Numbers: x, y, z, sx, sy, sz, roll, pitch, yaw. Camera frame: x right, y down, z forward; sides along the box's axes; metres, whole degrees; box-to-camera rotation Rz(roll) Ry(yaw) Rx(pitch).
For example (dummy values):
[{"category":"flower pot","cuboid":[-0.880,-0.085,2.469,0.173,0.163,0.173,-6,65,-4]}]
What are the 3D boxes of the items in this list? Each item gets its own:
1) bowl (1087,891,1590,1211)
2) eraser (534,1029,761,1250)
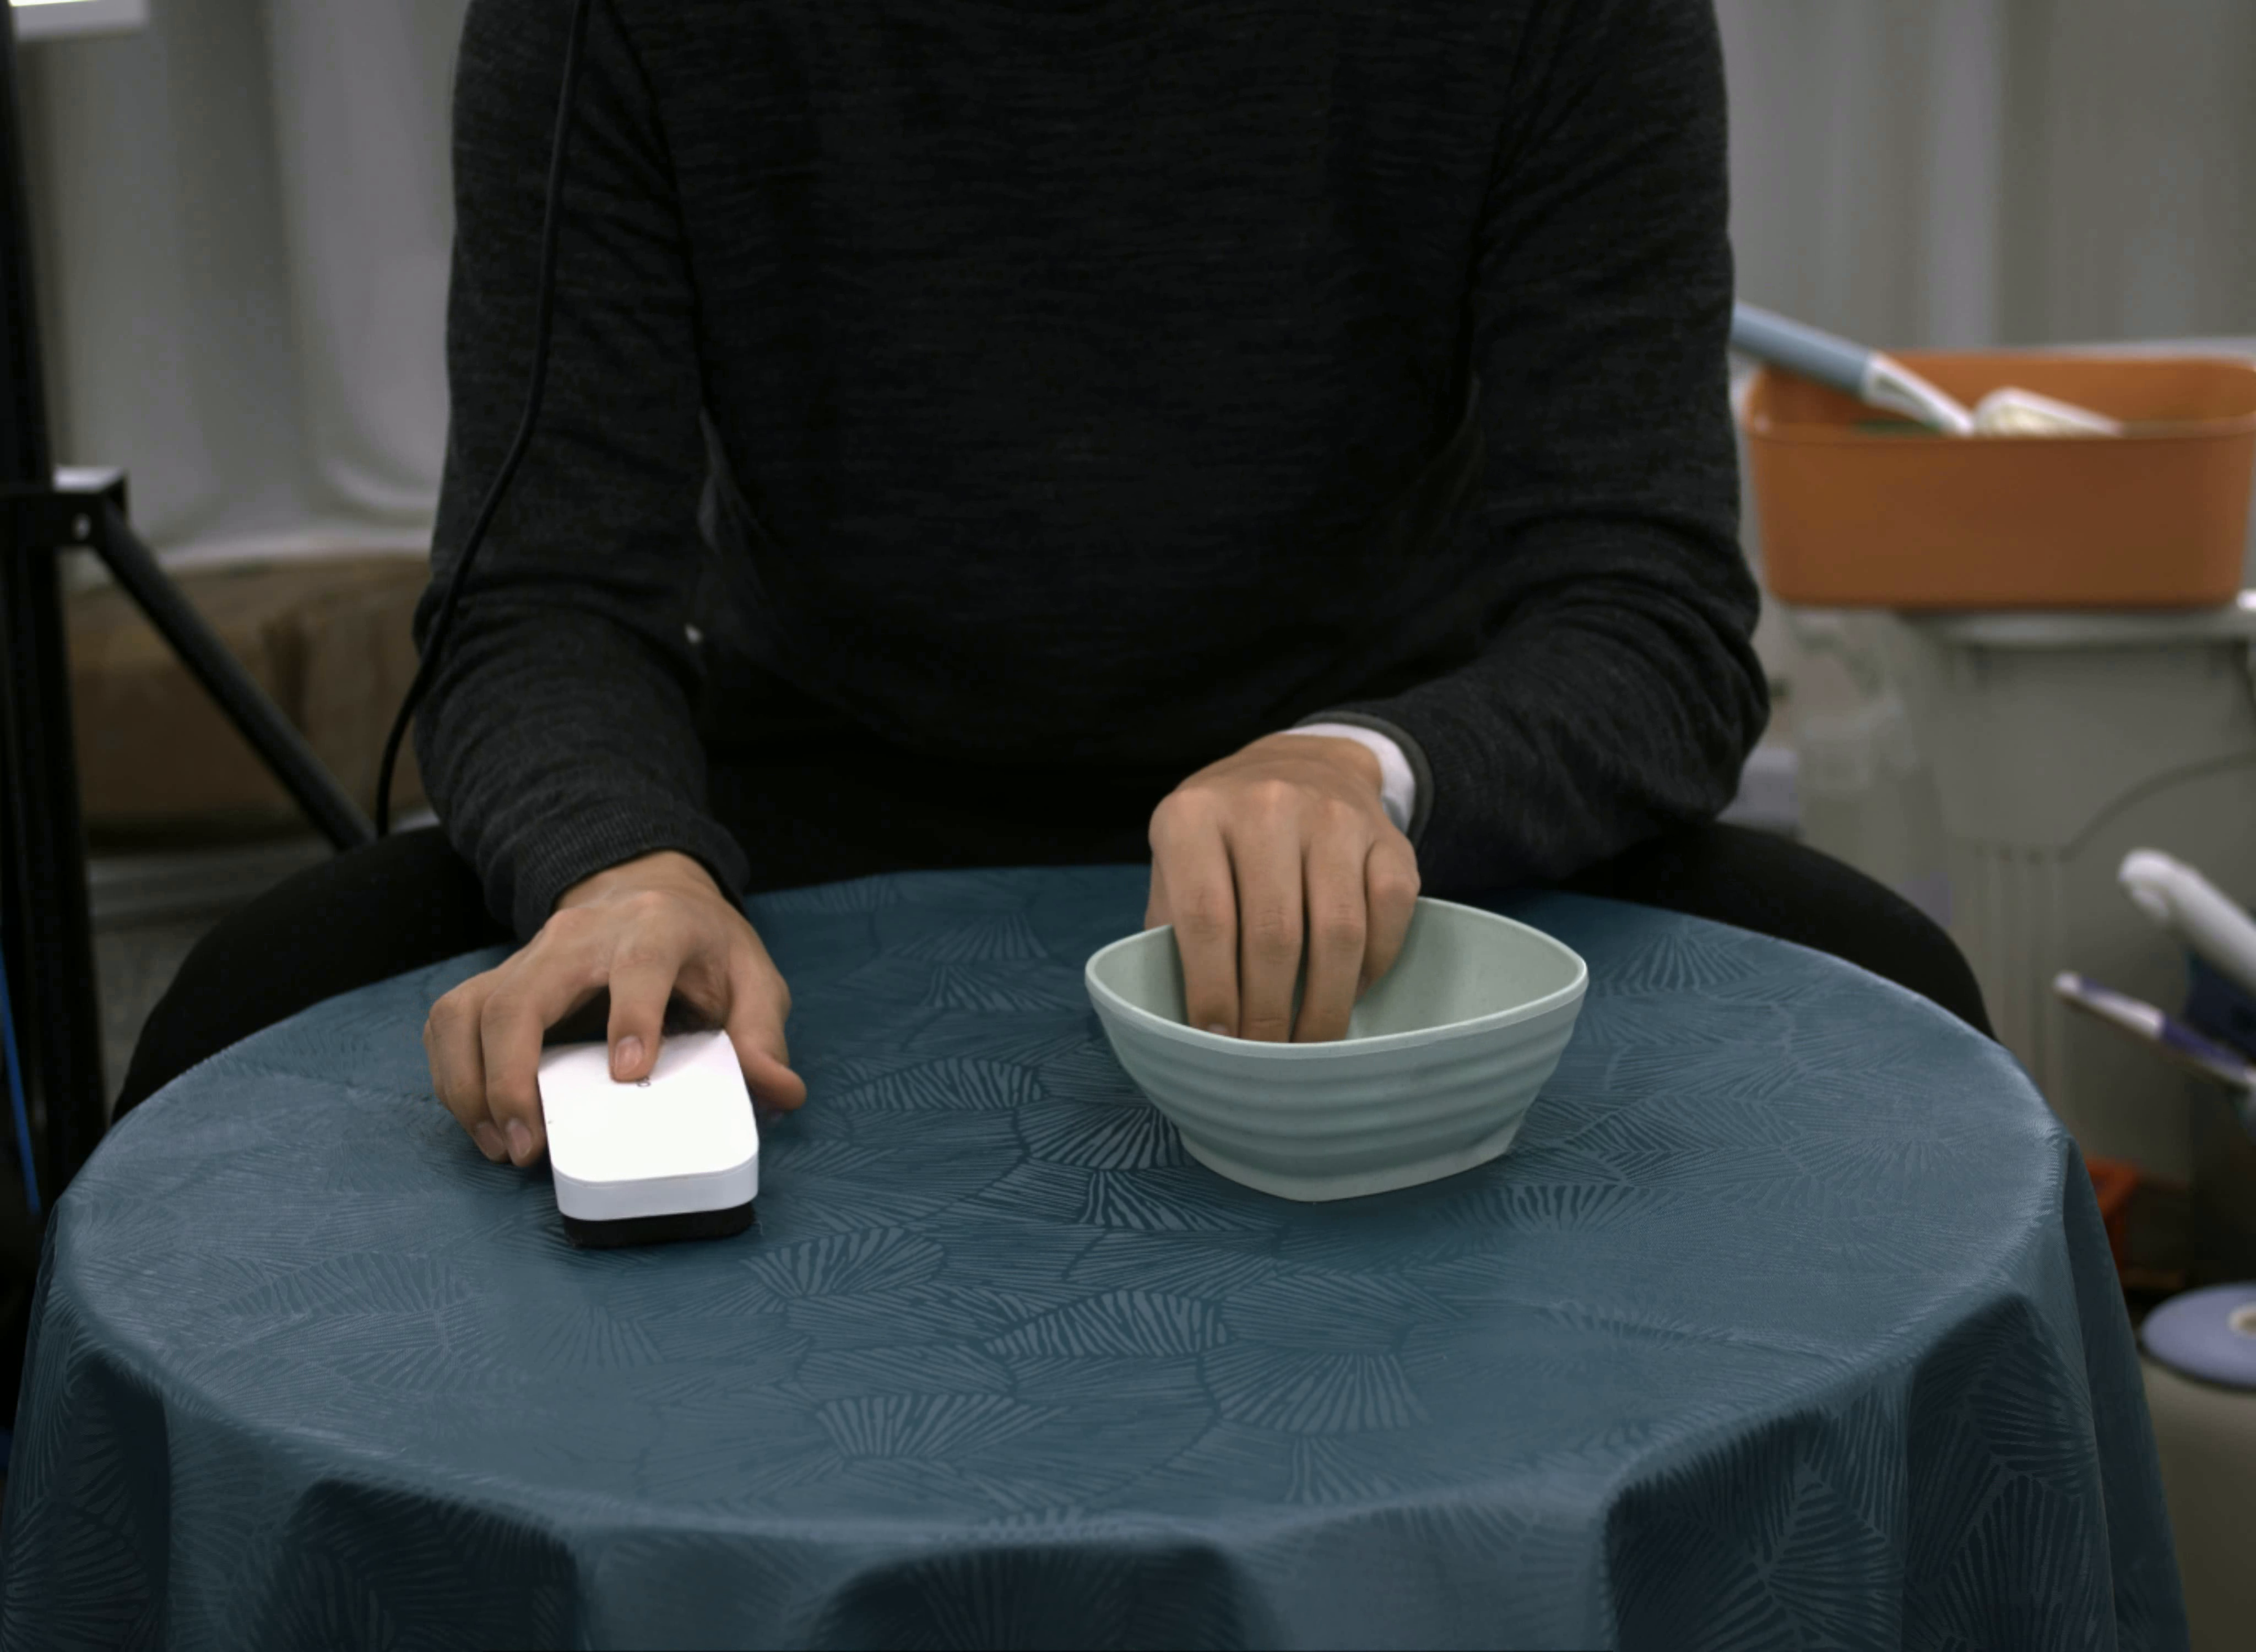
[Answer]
[{"category":"bowl","cuboid":[0.063,0.070,1.580,0.150,0.058,0.152,-2,17,-1]},{"category":"eraser","cuboid":[-0.143,0.089,1.590,0.063,0.034,0.132,-3,17,-8]}]
